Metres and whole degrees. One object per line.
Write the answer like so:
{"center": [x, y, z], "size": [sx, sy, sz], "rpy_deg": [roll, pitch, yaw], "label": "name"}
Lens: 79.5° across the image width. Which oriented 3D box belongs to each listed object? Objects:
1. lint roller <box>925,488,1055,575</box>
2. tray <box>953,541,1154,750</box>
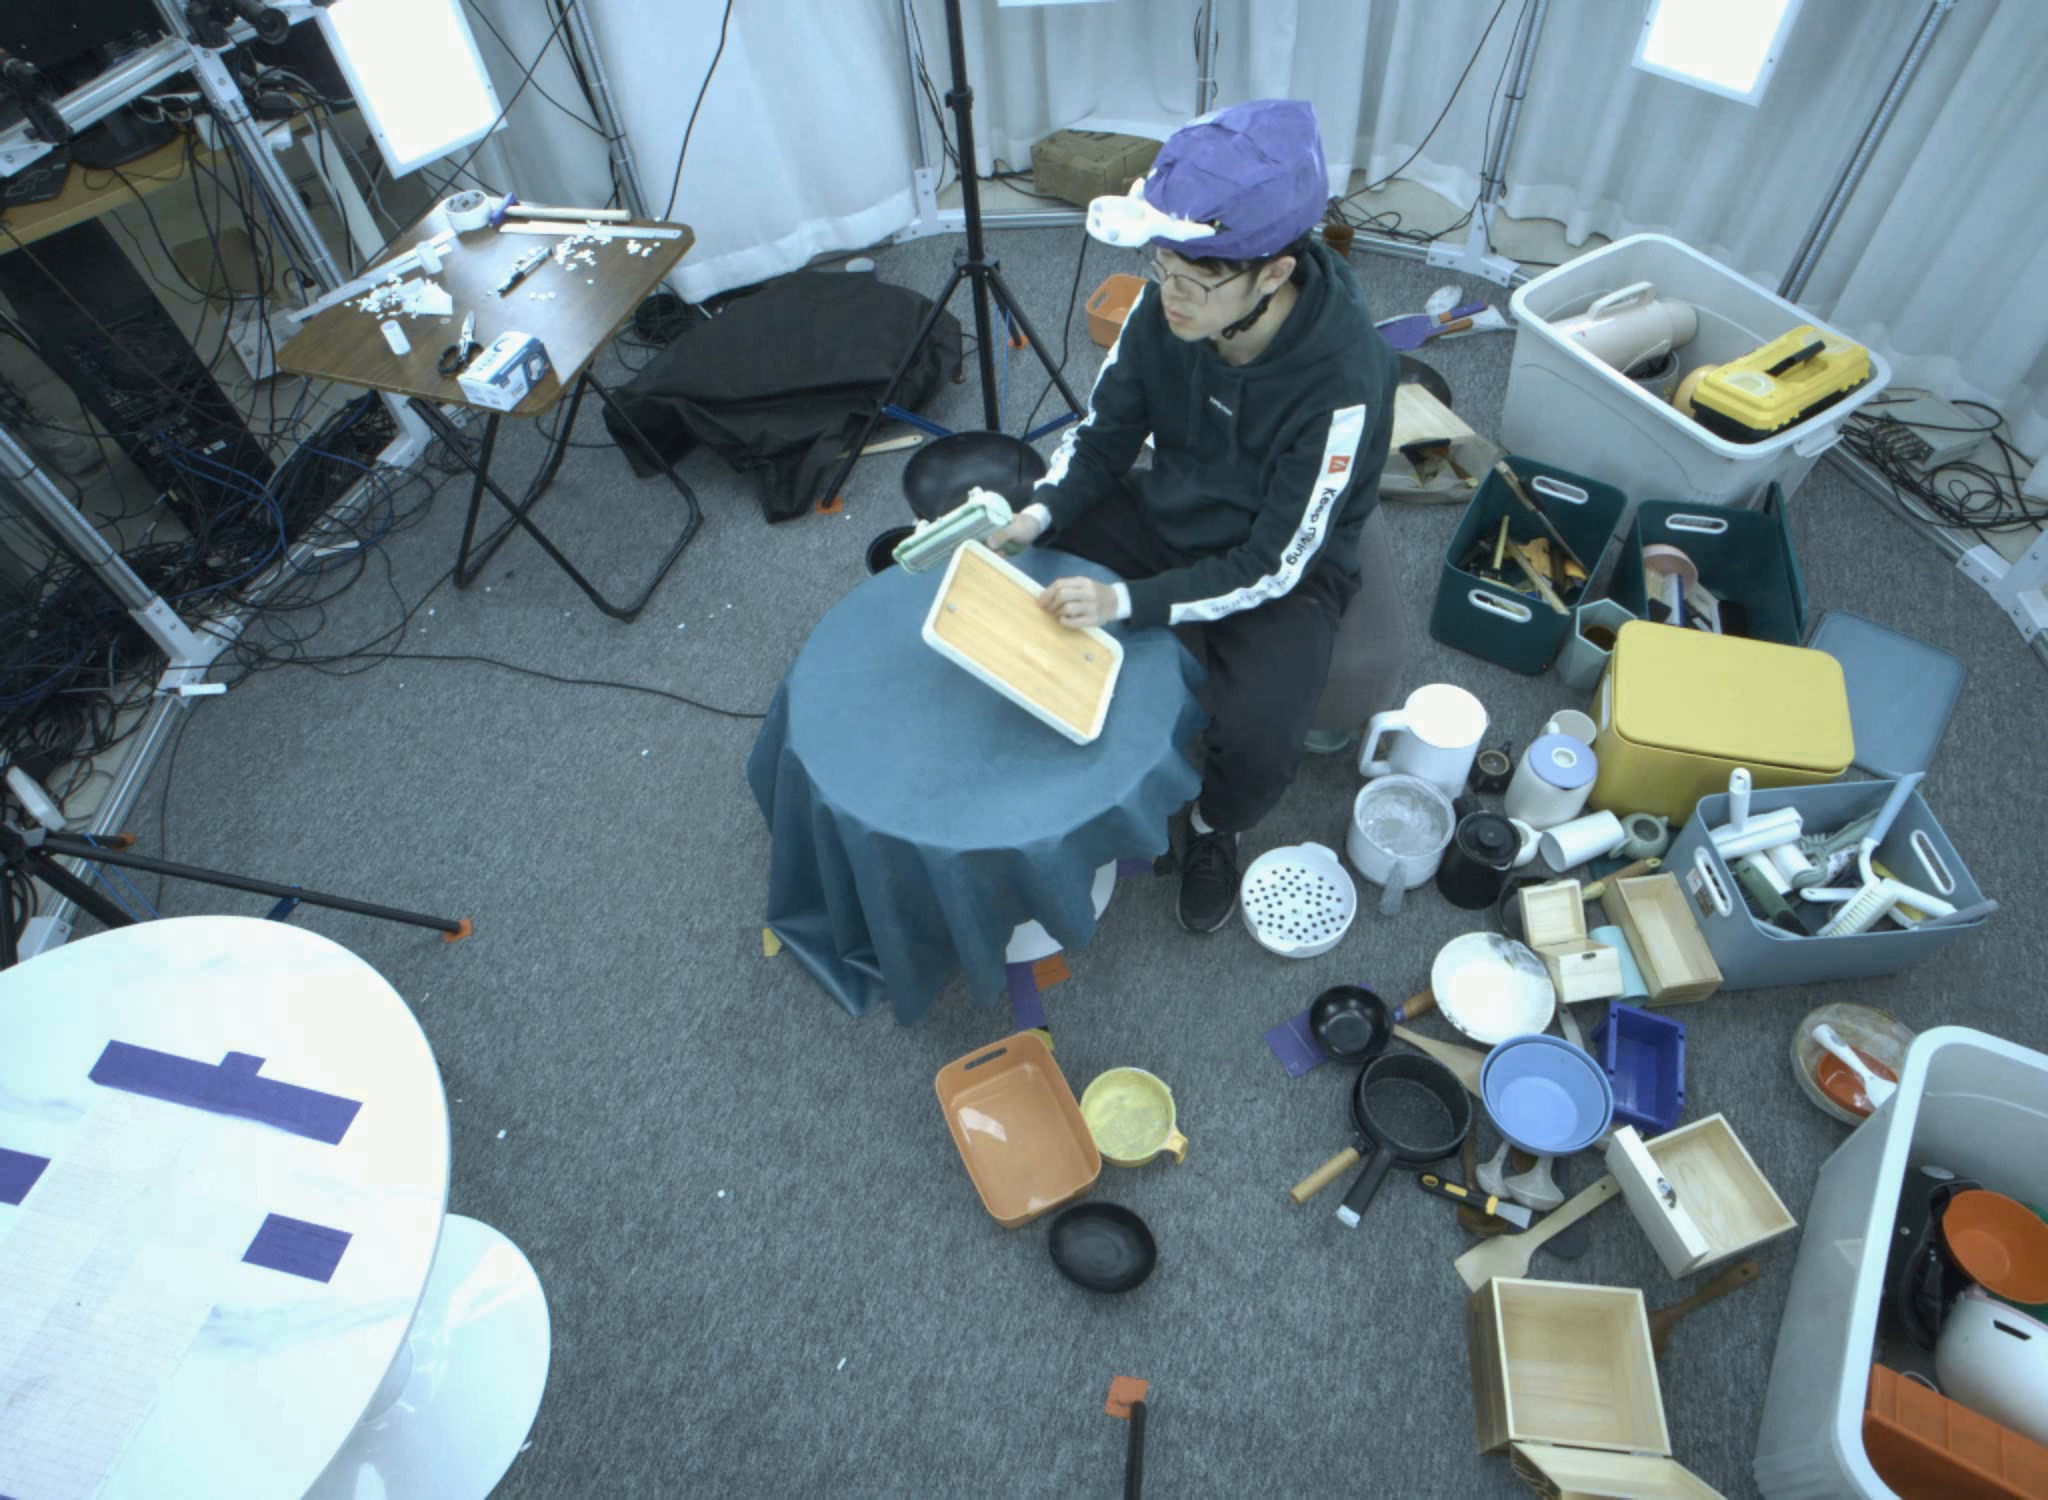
{"center": [-0.024, -0.328, 1.819], "size": [0.186, 0.195, 0.082], "rpy_deg": [-14, 85, -51], "label": "lint roller"}
{"center": [0.048, -0.148, 1.751], "size": [0.305, 0.027, 0.191], "rpy_deg": [35, 54, -22], "label": "tray"}
